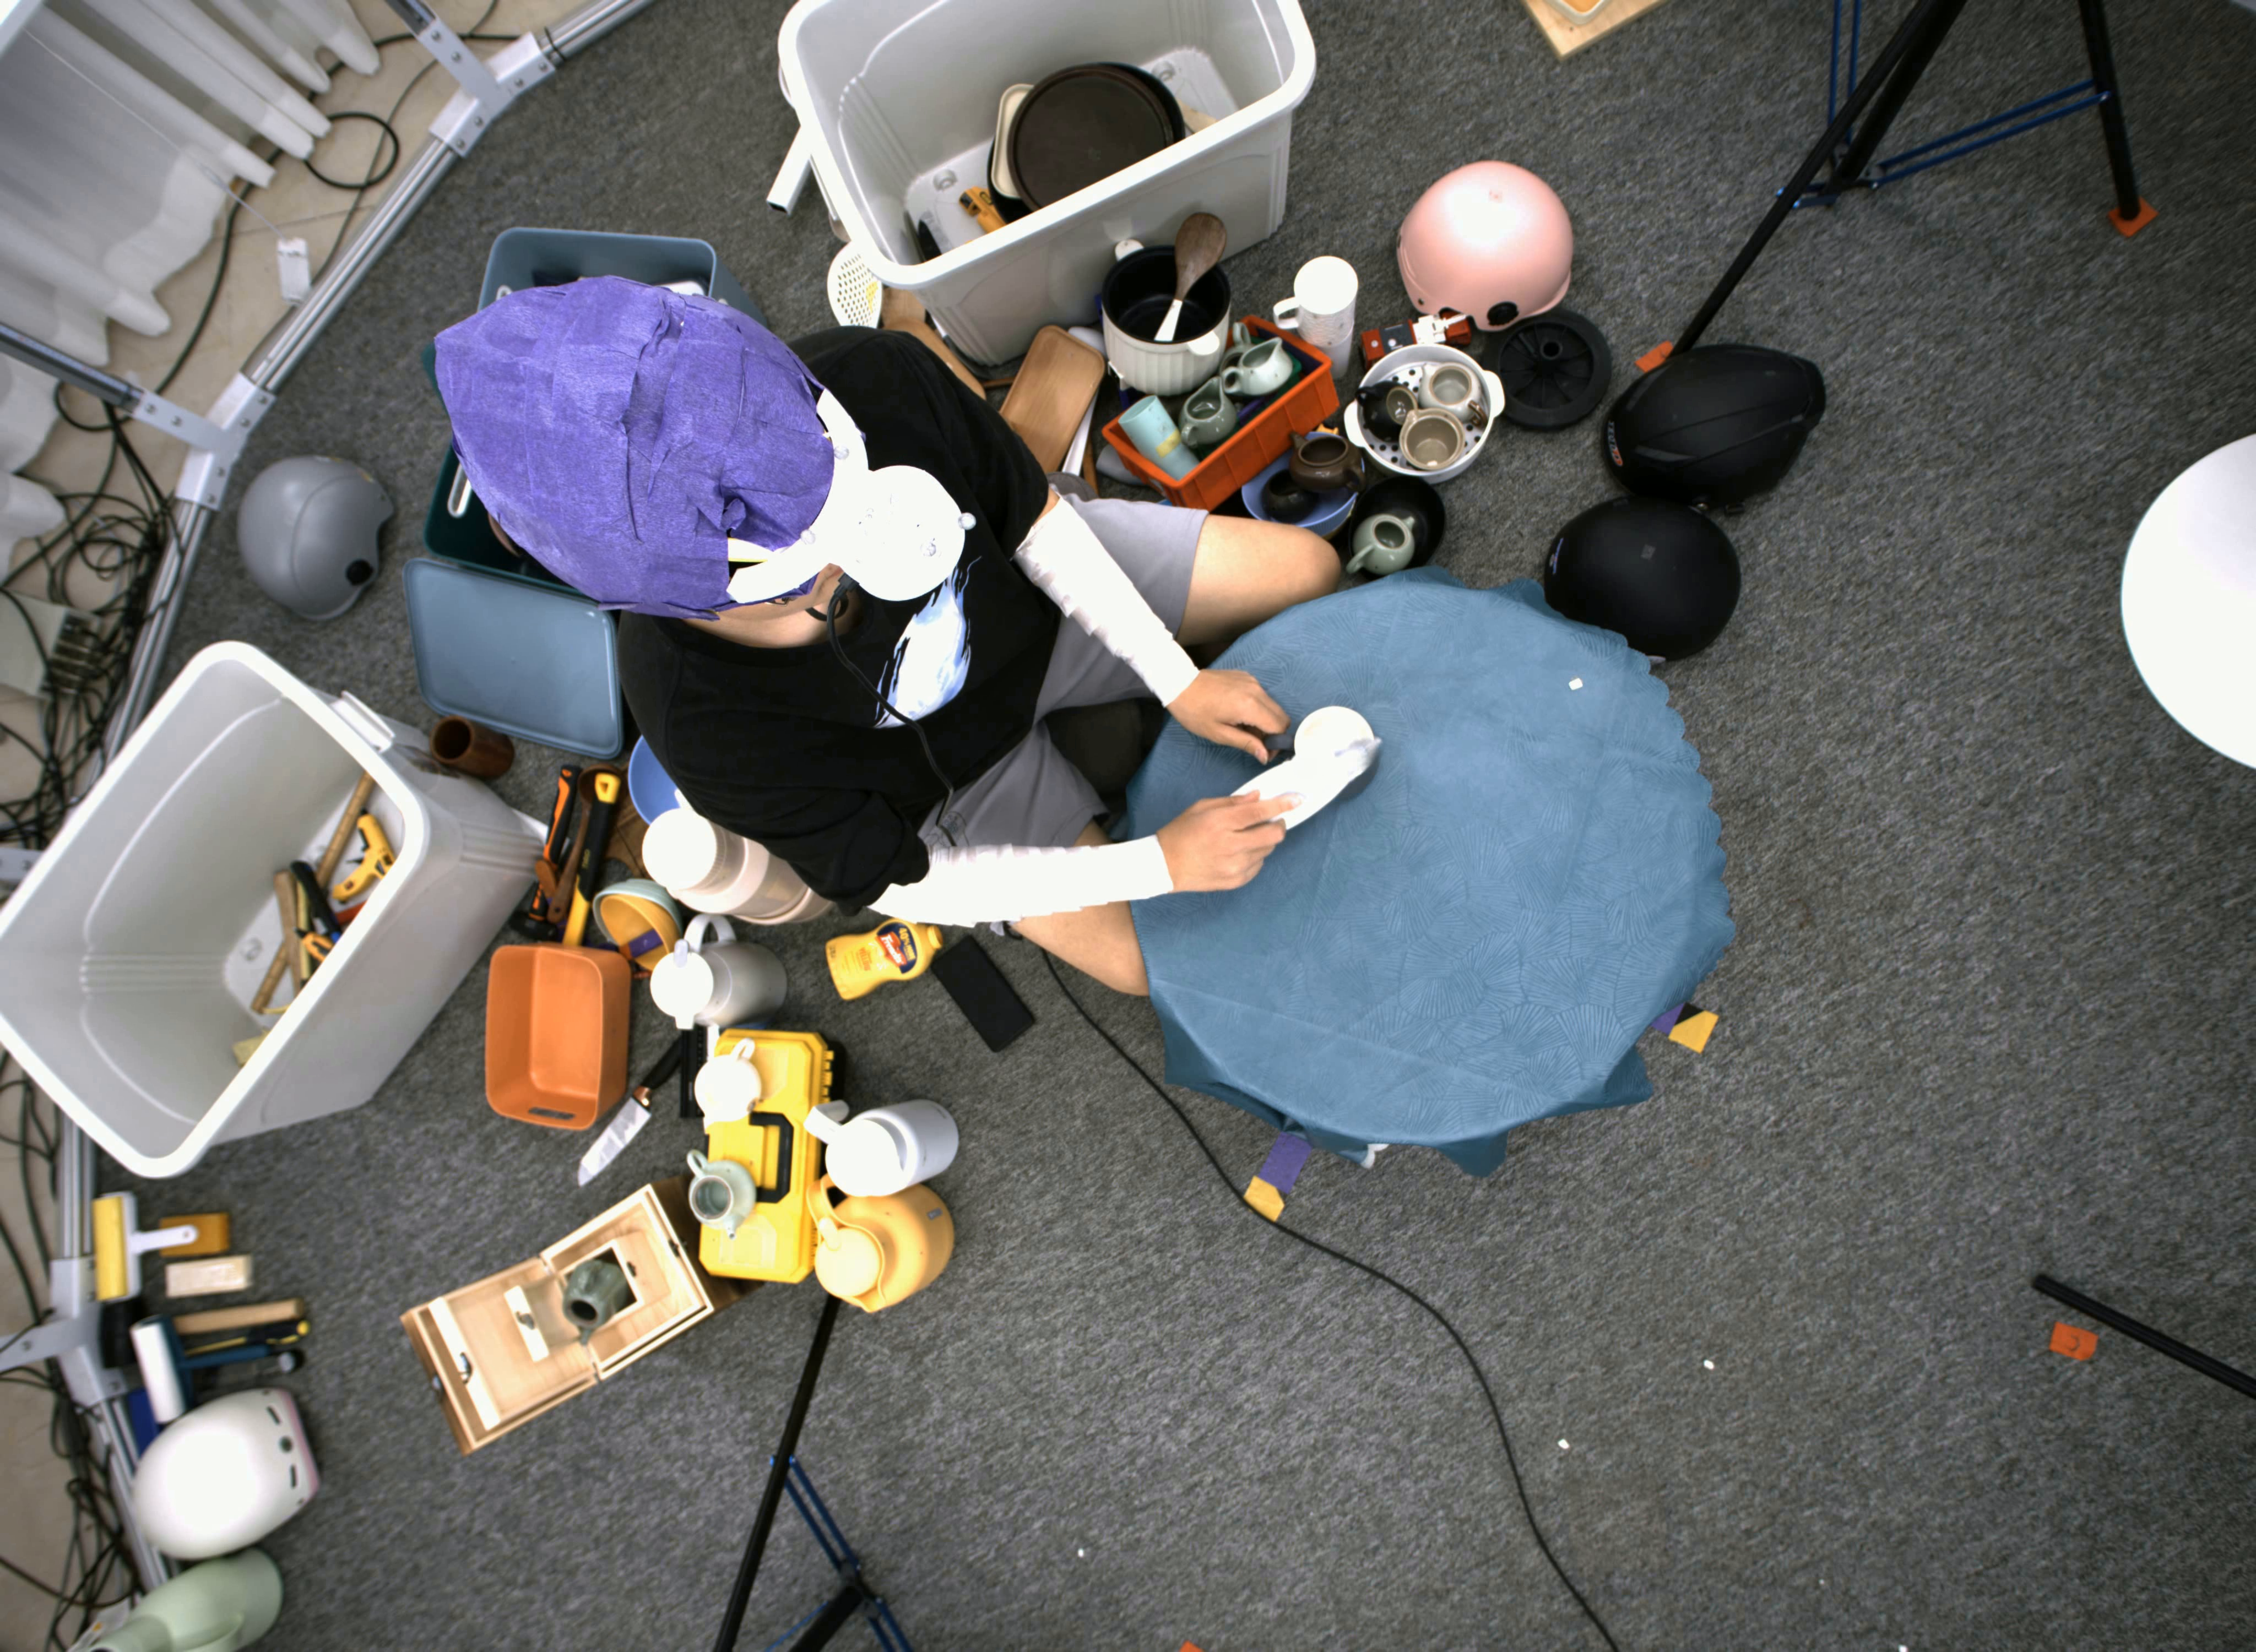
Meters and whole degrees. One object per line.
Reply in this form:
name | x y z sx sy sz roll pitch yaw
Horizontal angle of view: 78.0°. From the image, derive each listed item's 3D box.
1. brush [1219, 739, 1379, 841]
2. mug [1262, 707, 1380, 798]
brush | 0.165 -0.034 1.366 0.178 0.092 0.062 -27 101 34
mug | 0.200 -0.081 1.434 0.123 0.090 0.093 7 88 11
